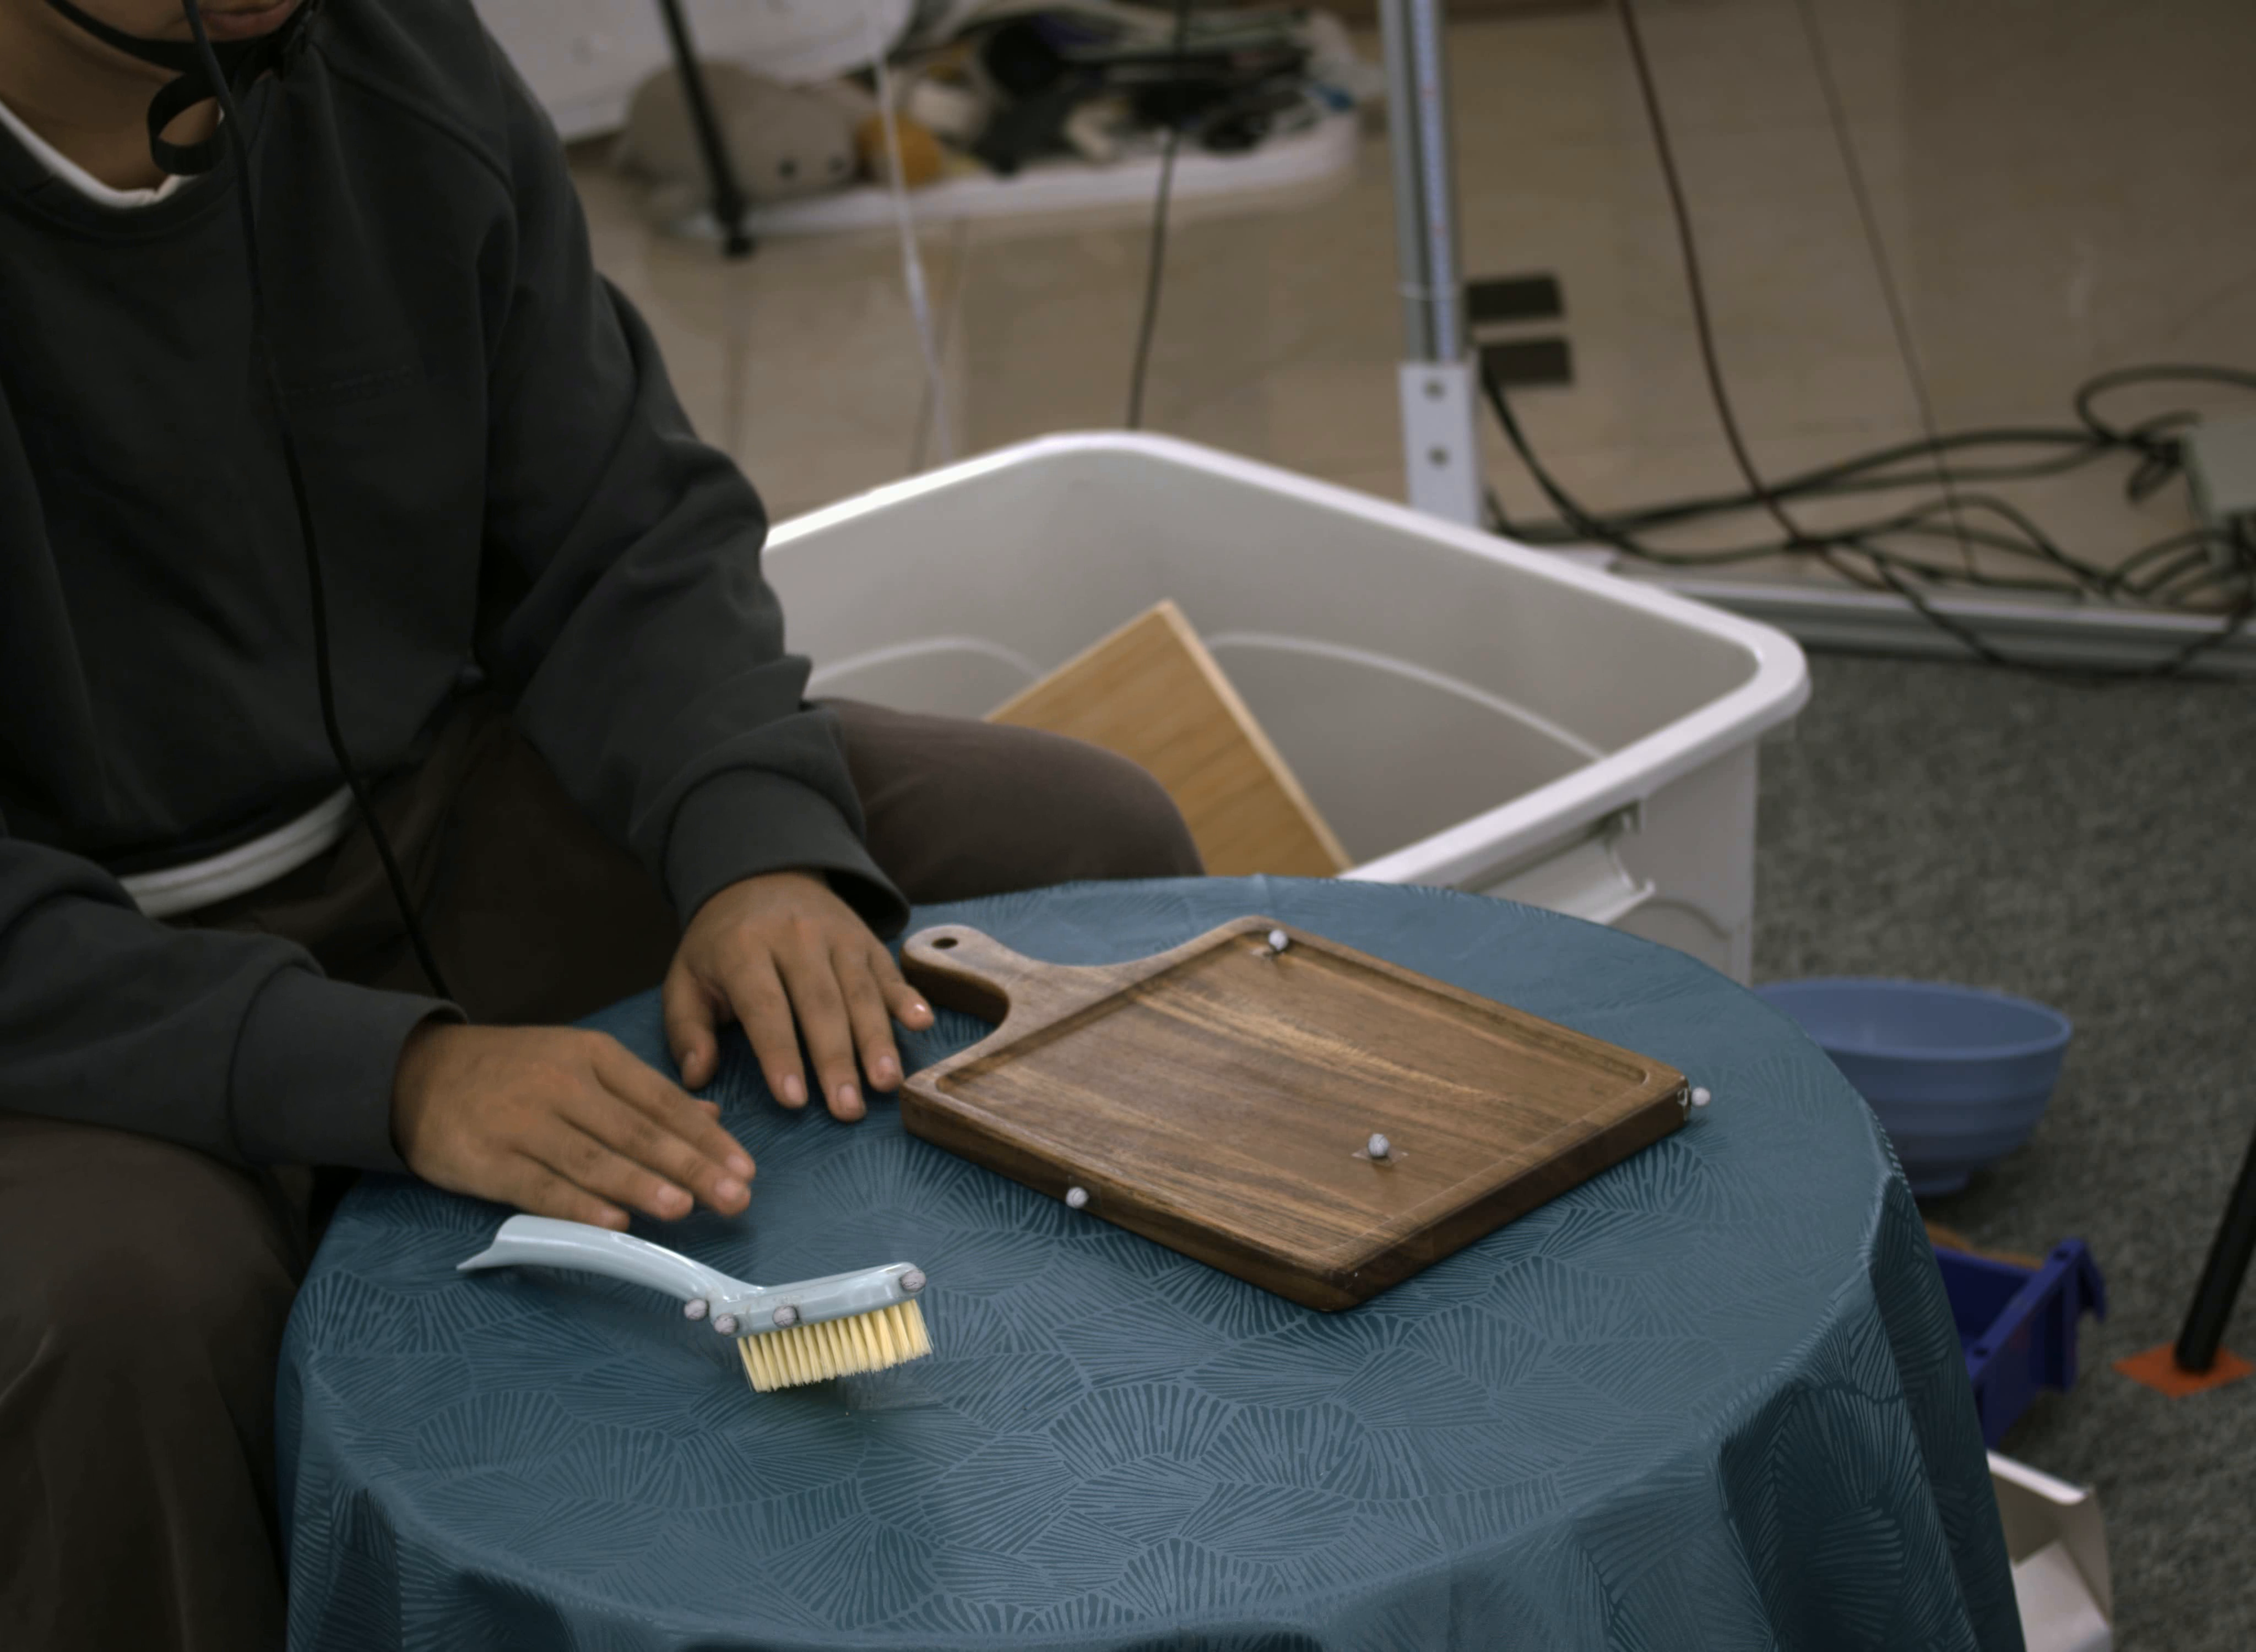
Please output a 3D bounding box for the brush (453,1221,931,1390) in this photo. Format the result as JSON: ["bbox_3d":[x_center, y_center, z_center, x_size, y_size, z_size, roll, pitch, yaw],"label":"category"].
[{"bbox_3d":[-0.163,0.174,2.073,0.228,0.050,0.037,4,14,39],"label":"brush"}]

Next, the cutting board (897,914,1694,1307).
[{"bbox_3d":[0.031,0.093,2.217,0.199,0.023,0.349,-25,30,-35],"label":"cutting board"}]
